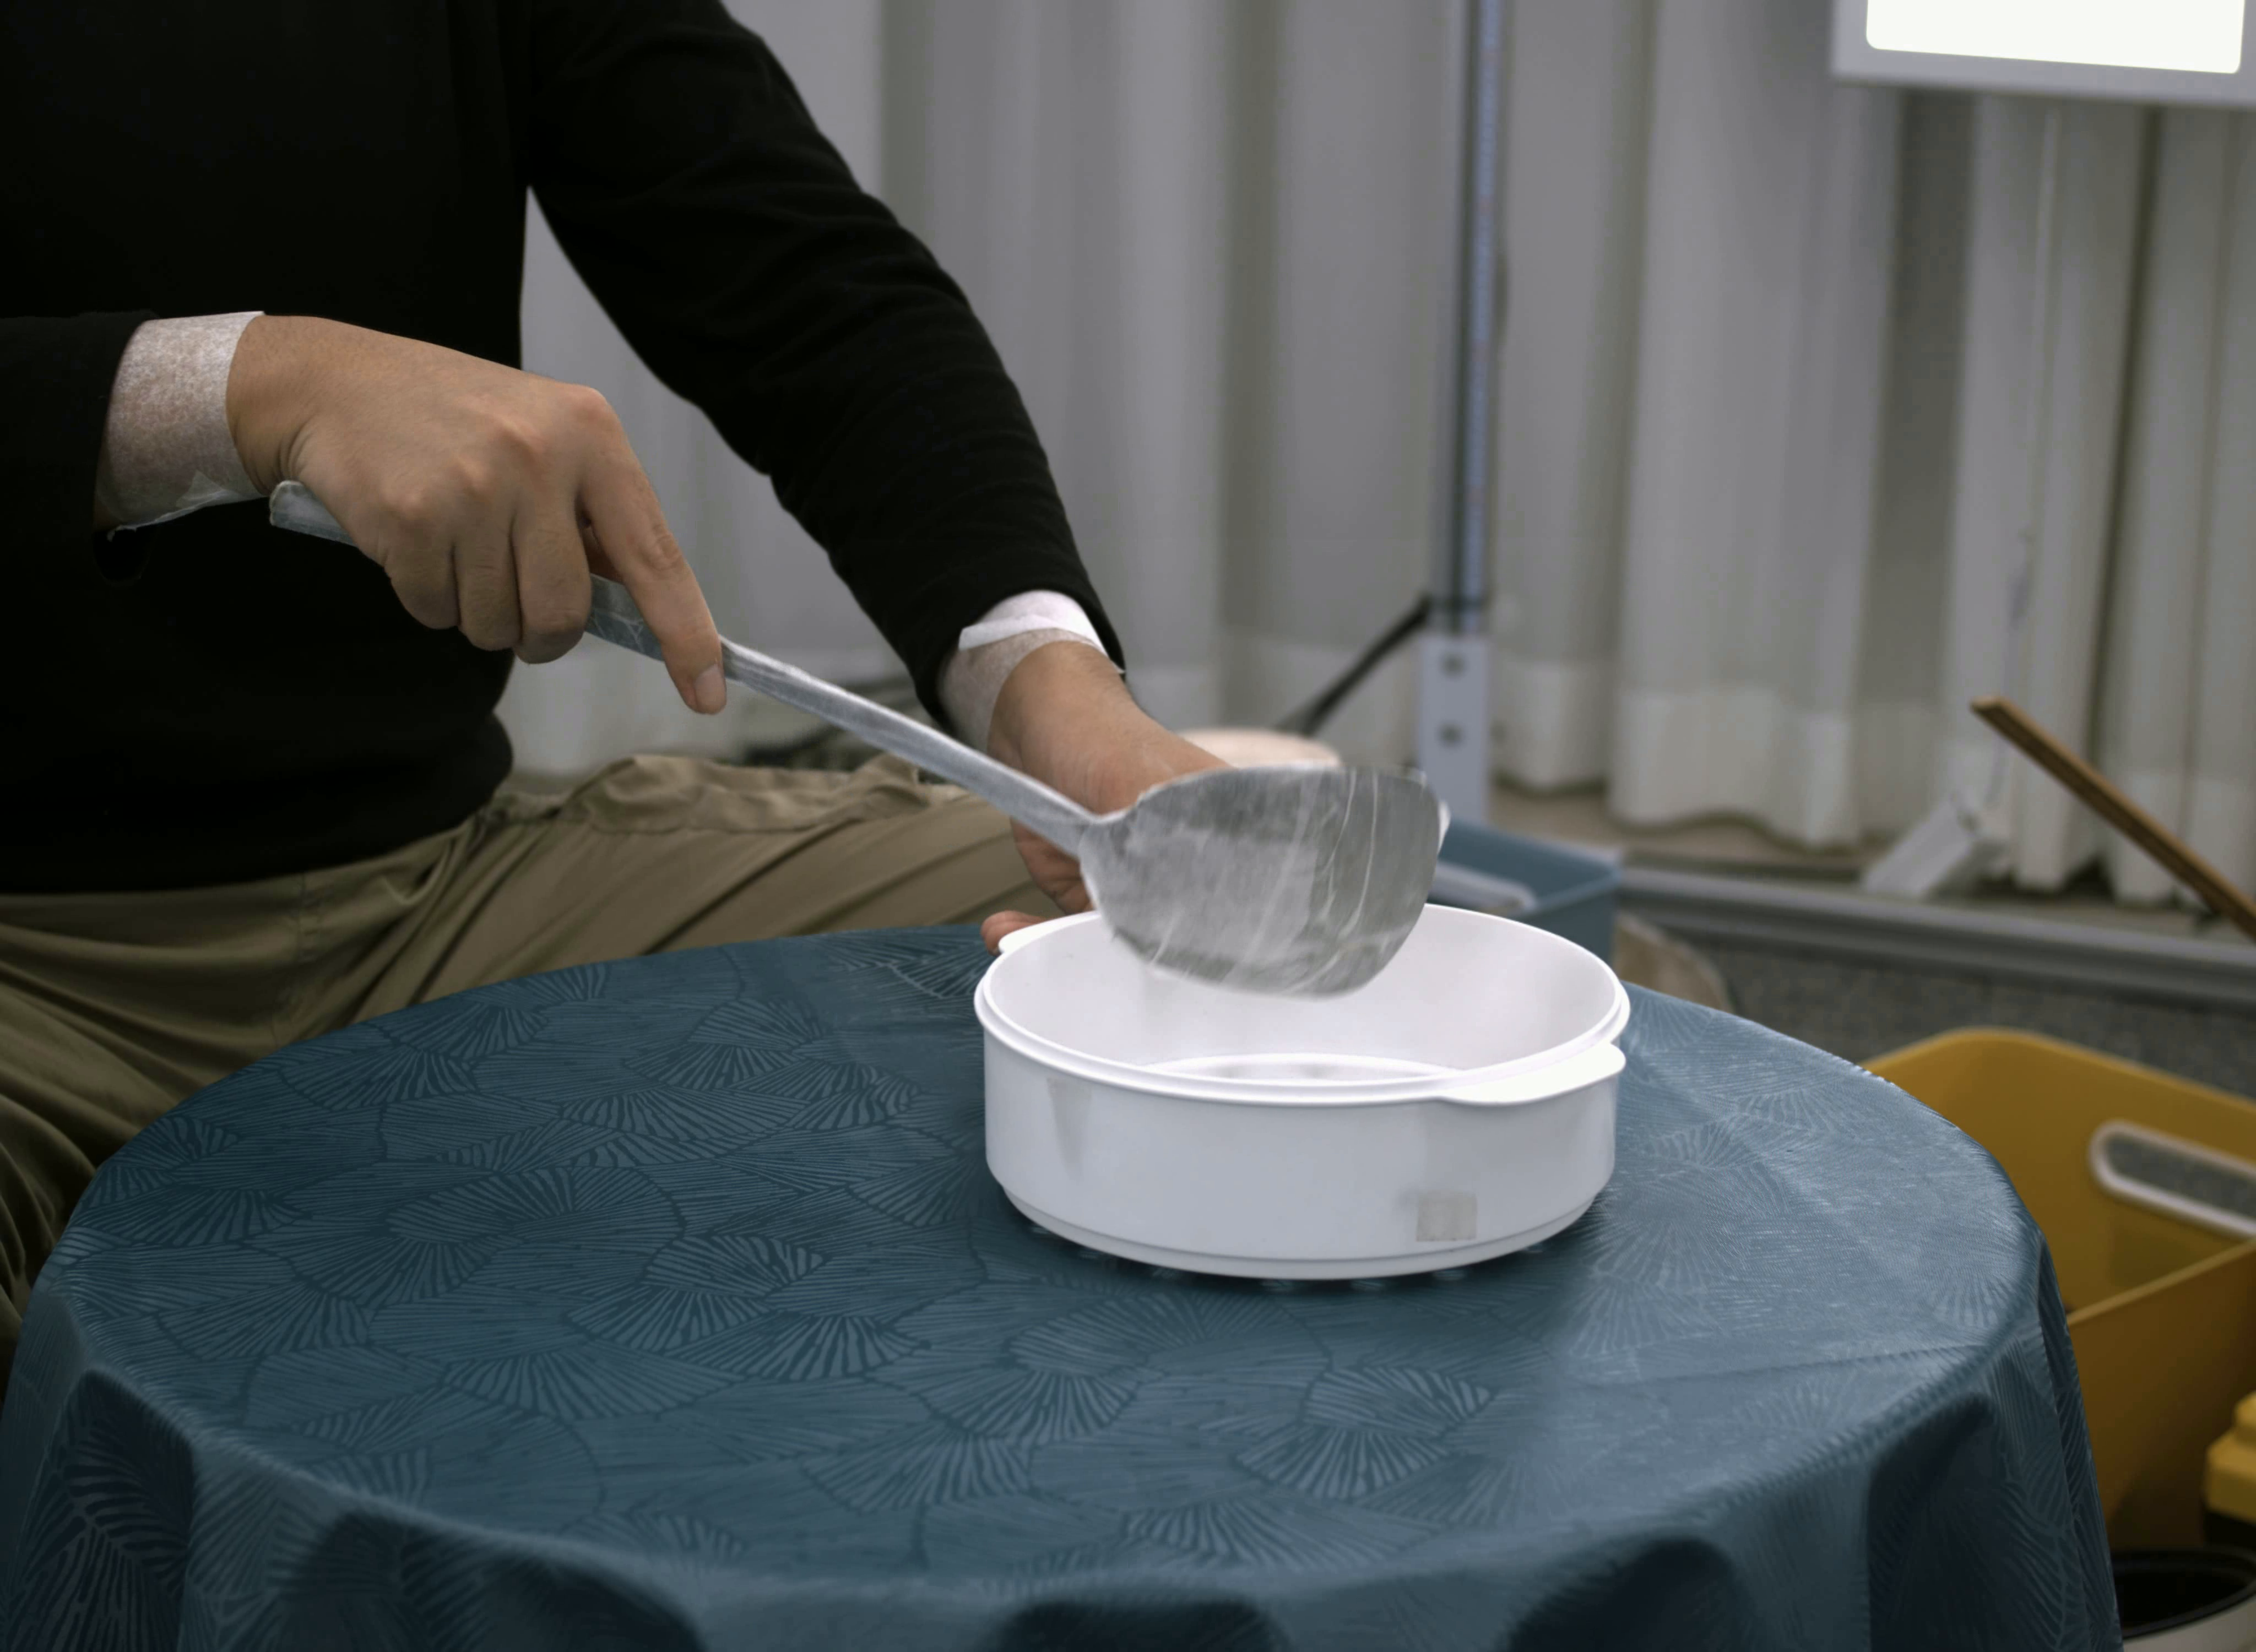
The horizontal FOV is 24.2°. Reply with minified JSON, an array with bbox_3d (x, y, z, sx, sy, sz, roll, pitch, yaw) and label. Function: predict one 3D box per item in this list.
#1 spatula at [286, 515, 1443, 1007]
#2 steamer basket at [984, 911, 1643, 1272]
[{"bbox_3d":[-0.081,-0.032,1.602,0.364,0.099,0.044,23,43,2],"label":"spatula"},{"bbox_3d":[0.056,0.080,1.609,0.203,0.070,0.227,-12,19,-41],"label":"steamer basket"}]
